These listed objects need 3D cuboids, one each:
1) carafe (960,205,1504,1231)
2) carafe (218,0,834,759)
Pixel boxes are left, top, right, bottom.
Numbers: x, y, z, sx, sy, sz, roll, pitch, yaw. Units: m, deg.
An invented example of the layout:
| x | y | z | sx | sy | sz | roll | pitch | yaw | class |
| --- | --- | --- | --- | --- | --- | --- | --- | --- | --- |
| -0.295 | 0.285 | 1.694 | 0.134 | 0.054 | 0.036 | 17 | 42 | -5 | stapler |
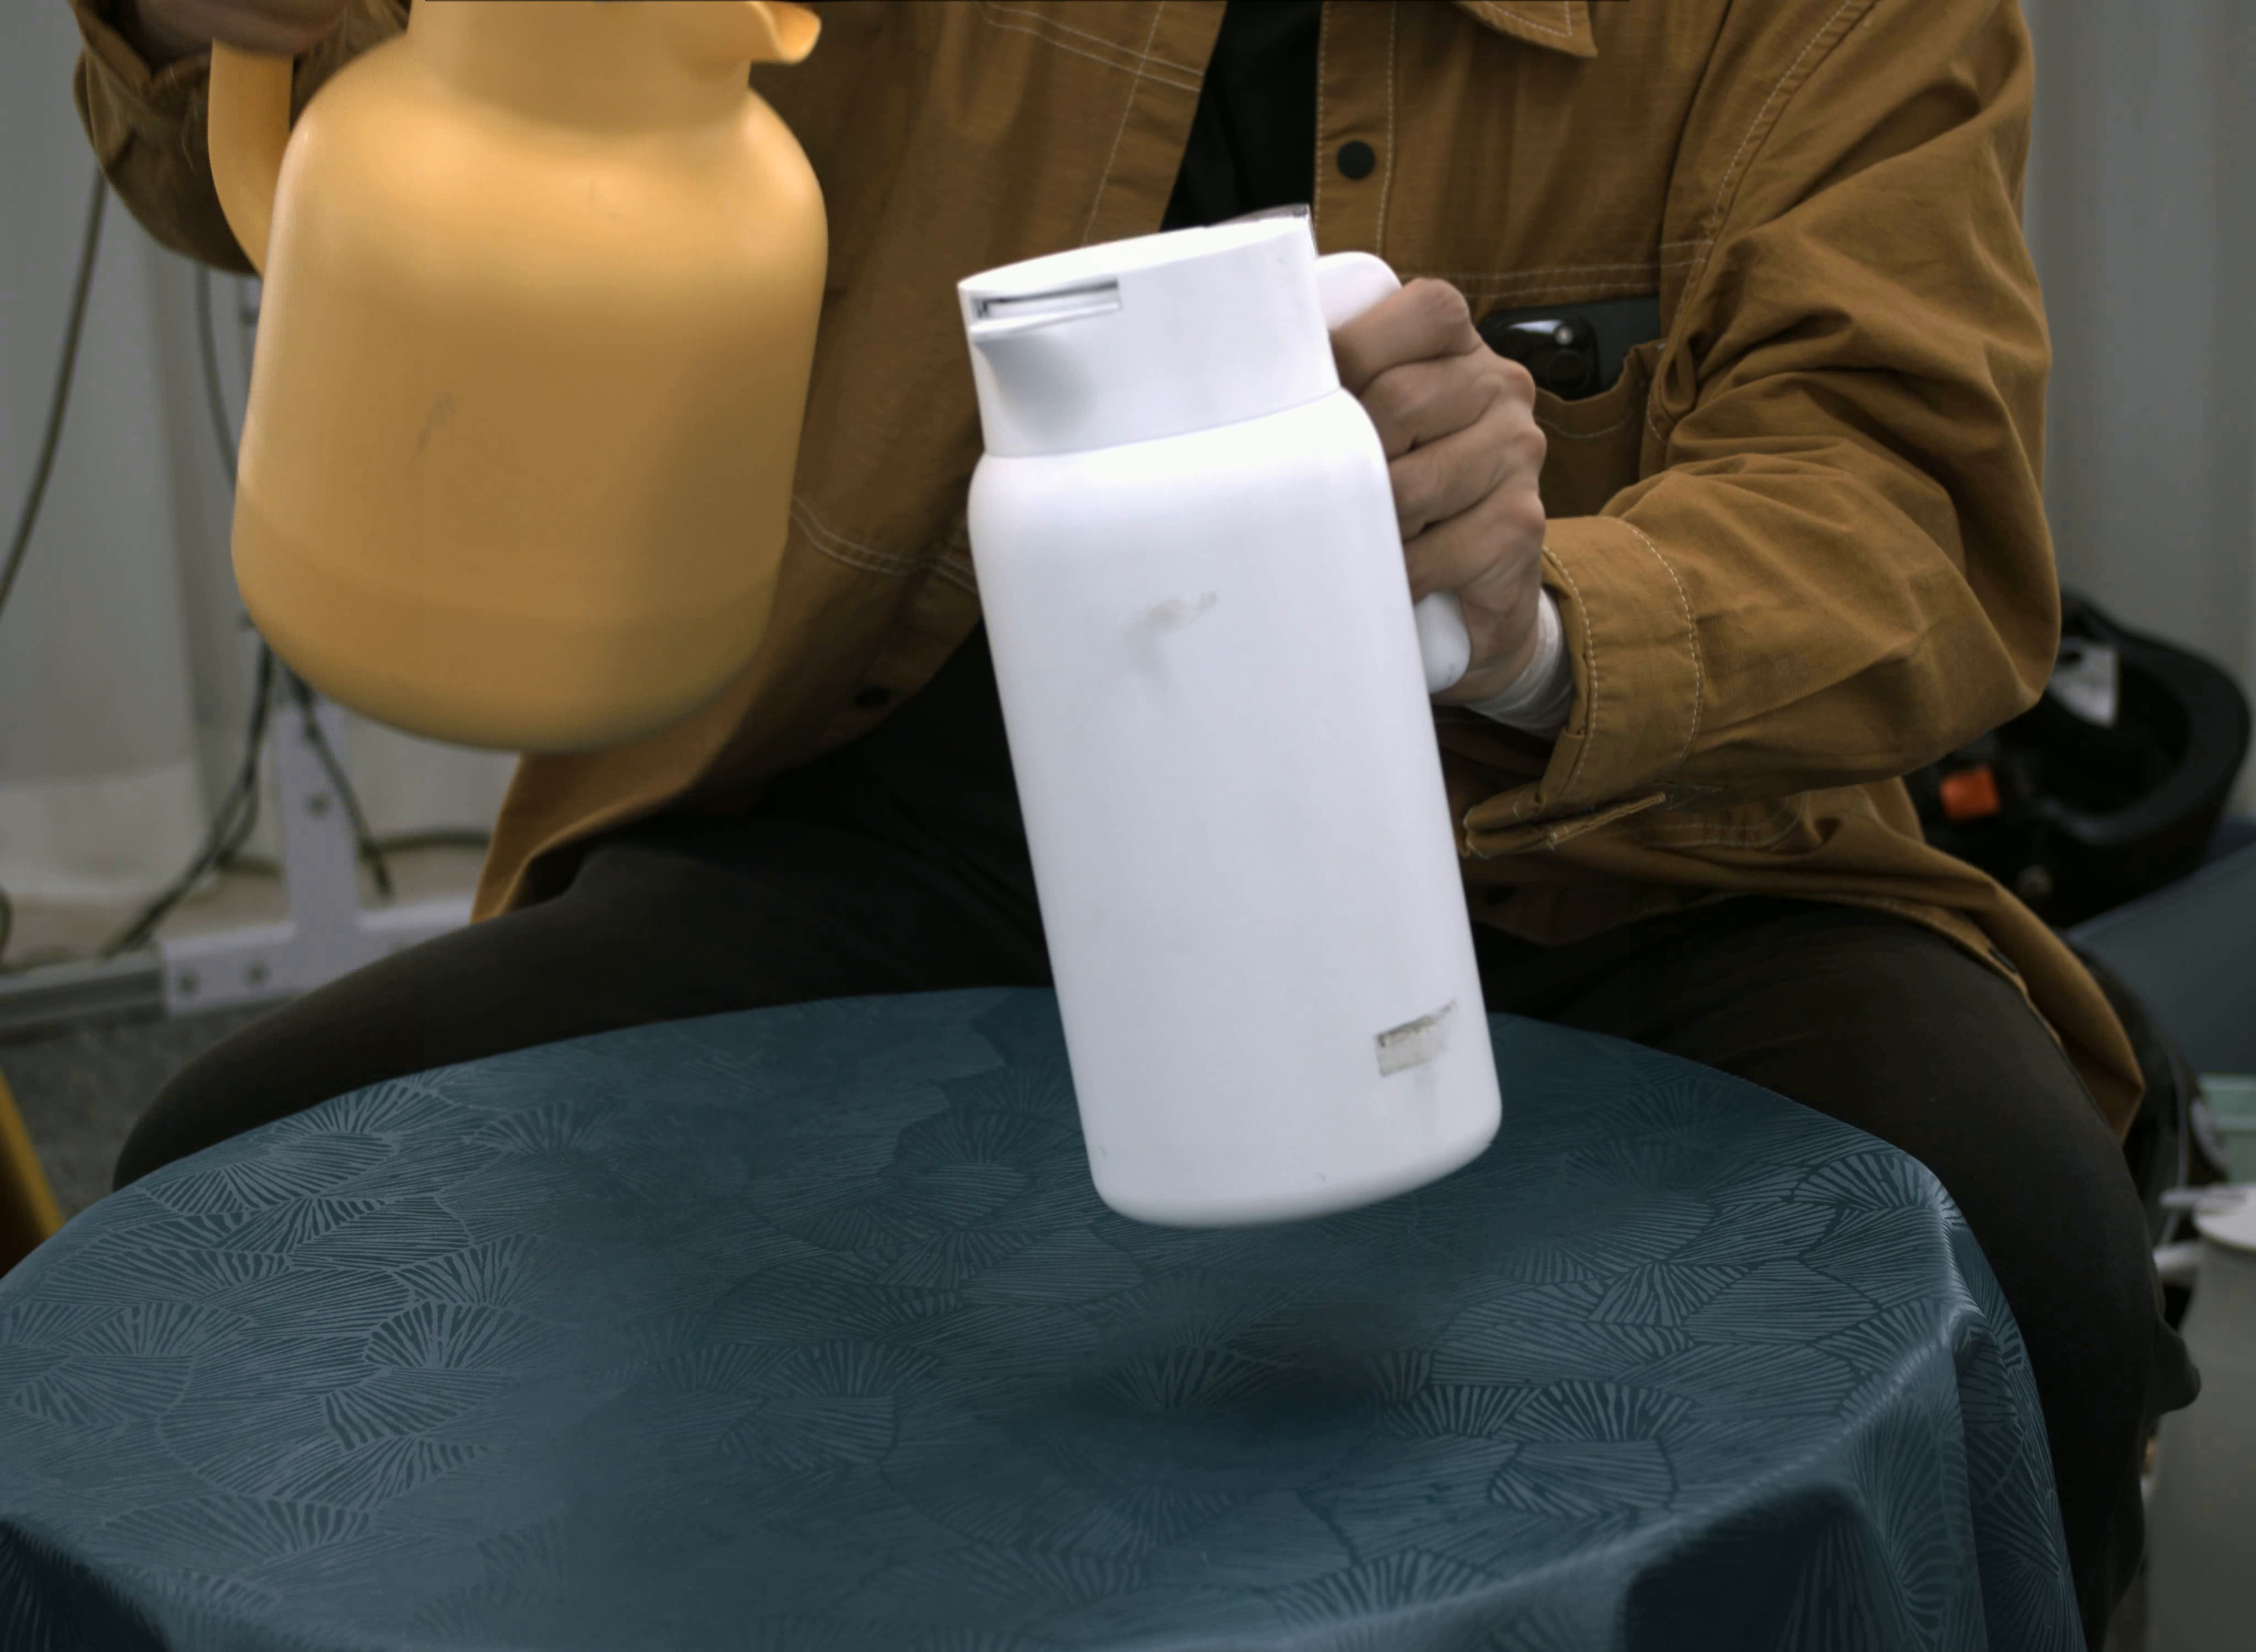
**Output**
| x | y | z | sx | sy | sz | roll | pitch | yaw | class |
| --- | --- | --- | --- | --- | --- | --- | --- | --- | --- |
| 0.035 | -0.034 | 1.527 | 0.124 | 0.268 | 0.173 | -6 | 9 | 39 | carafe |
| -0.183 | -0.168 | 1.600 | 0.204 | 0.258 | 0.163 | 28 | 28 | 26 | carafe |
